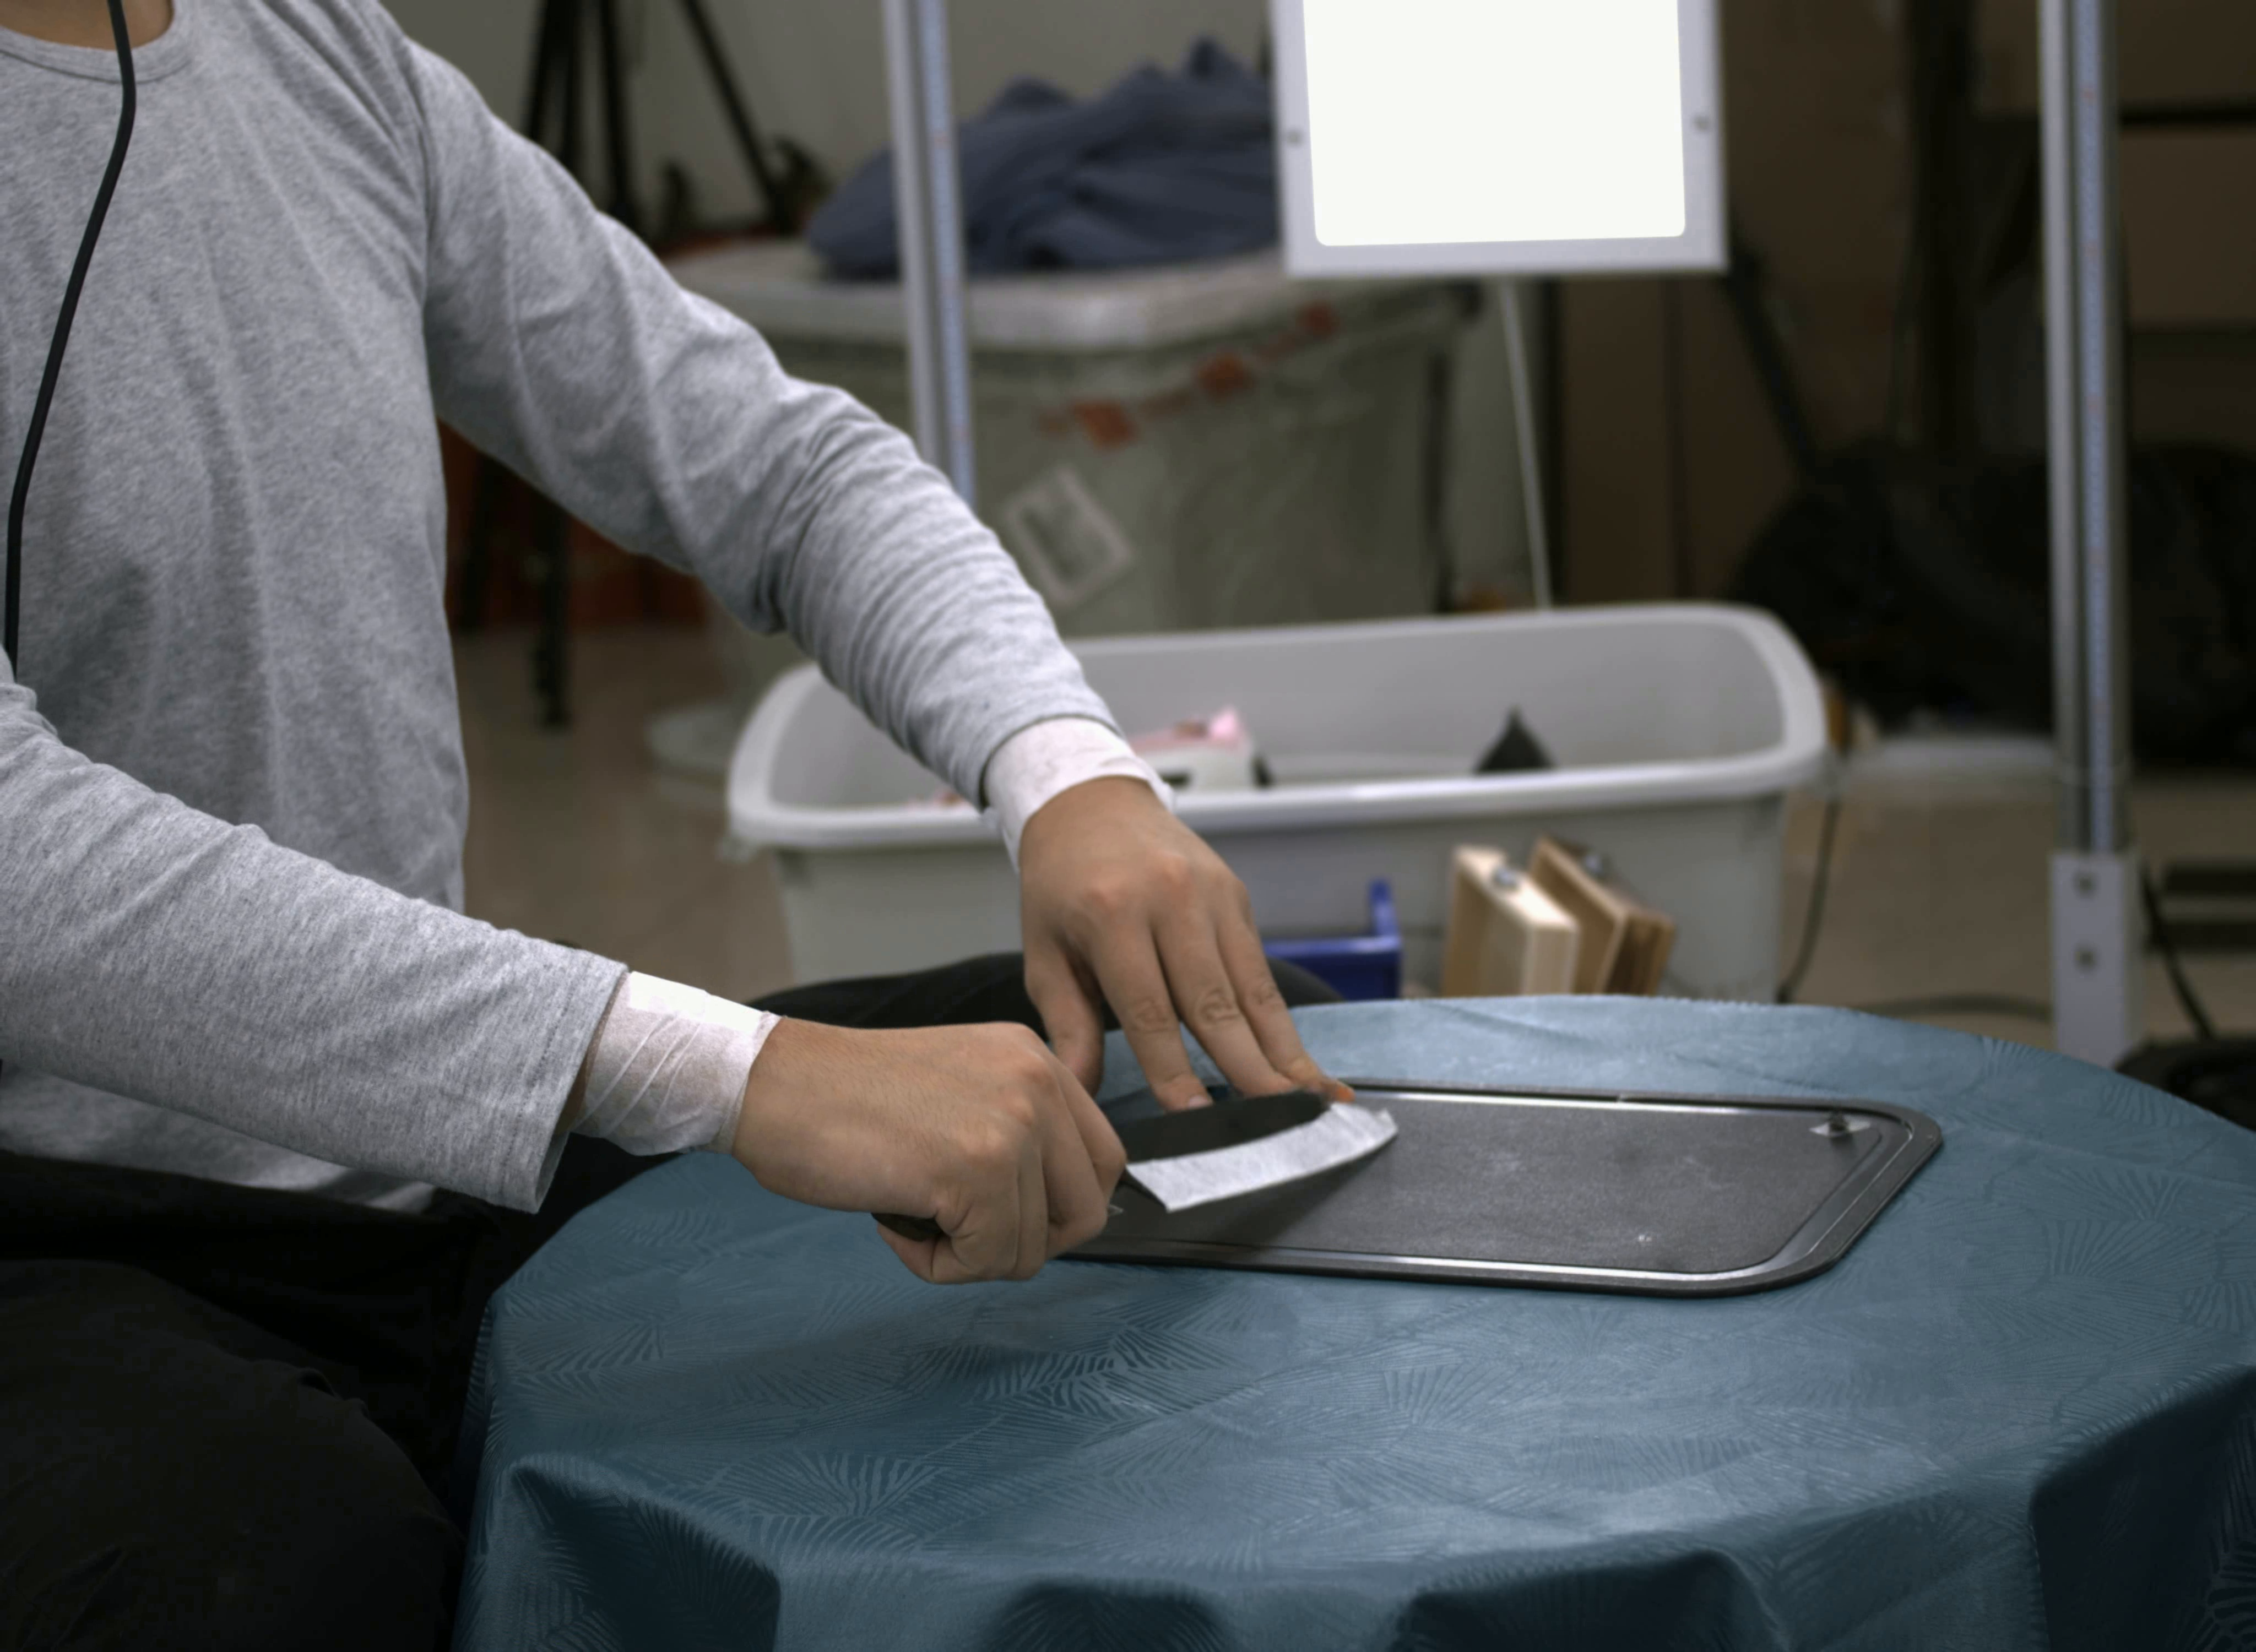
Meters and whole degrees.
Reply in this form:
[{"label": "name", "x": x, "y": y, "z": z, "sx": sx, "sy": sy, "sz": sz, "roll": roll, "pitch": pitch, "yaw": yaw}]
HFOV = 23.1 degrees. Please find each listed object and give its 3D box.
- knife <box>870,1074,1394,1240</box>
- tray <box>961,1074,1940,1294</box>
[{"label": "knife", "x": 0.008, "y": 0.108, "z": 1.826, "sx": 0.051, "sy": 0.020, "sz": 0.282, "roll": 40, "pitch": 25, "yaw": 27}, {"label": "tray", "x": 0.105, "y": 0.118, "z": 1.885, "sx": 0.331, "sy": 0.010, "sz": 0.207, "roll": 1, "pitch": 15, "yaw": 26}]
